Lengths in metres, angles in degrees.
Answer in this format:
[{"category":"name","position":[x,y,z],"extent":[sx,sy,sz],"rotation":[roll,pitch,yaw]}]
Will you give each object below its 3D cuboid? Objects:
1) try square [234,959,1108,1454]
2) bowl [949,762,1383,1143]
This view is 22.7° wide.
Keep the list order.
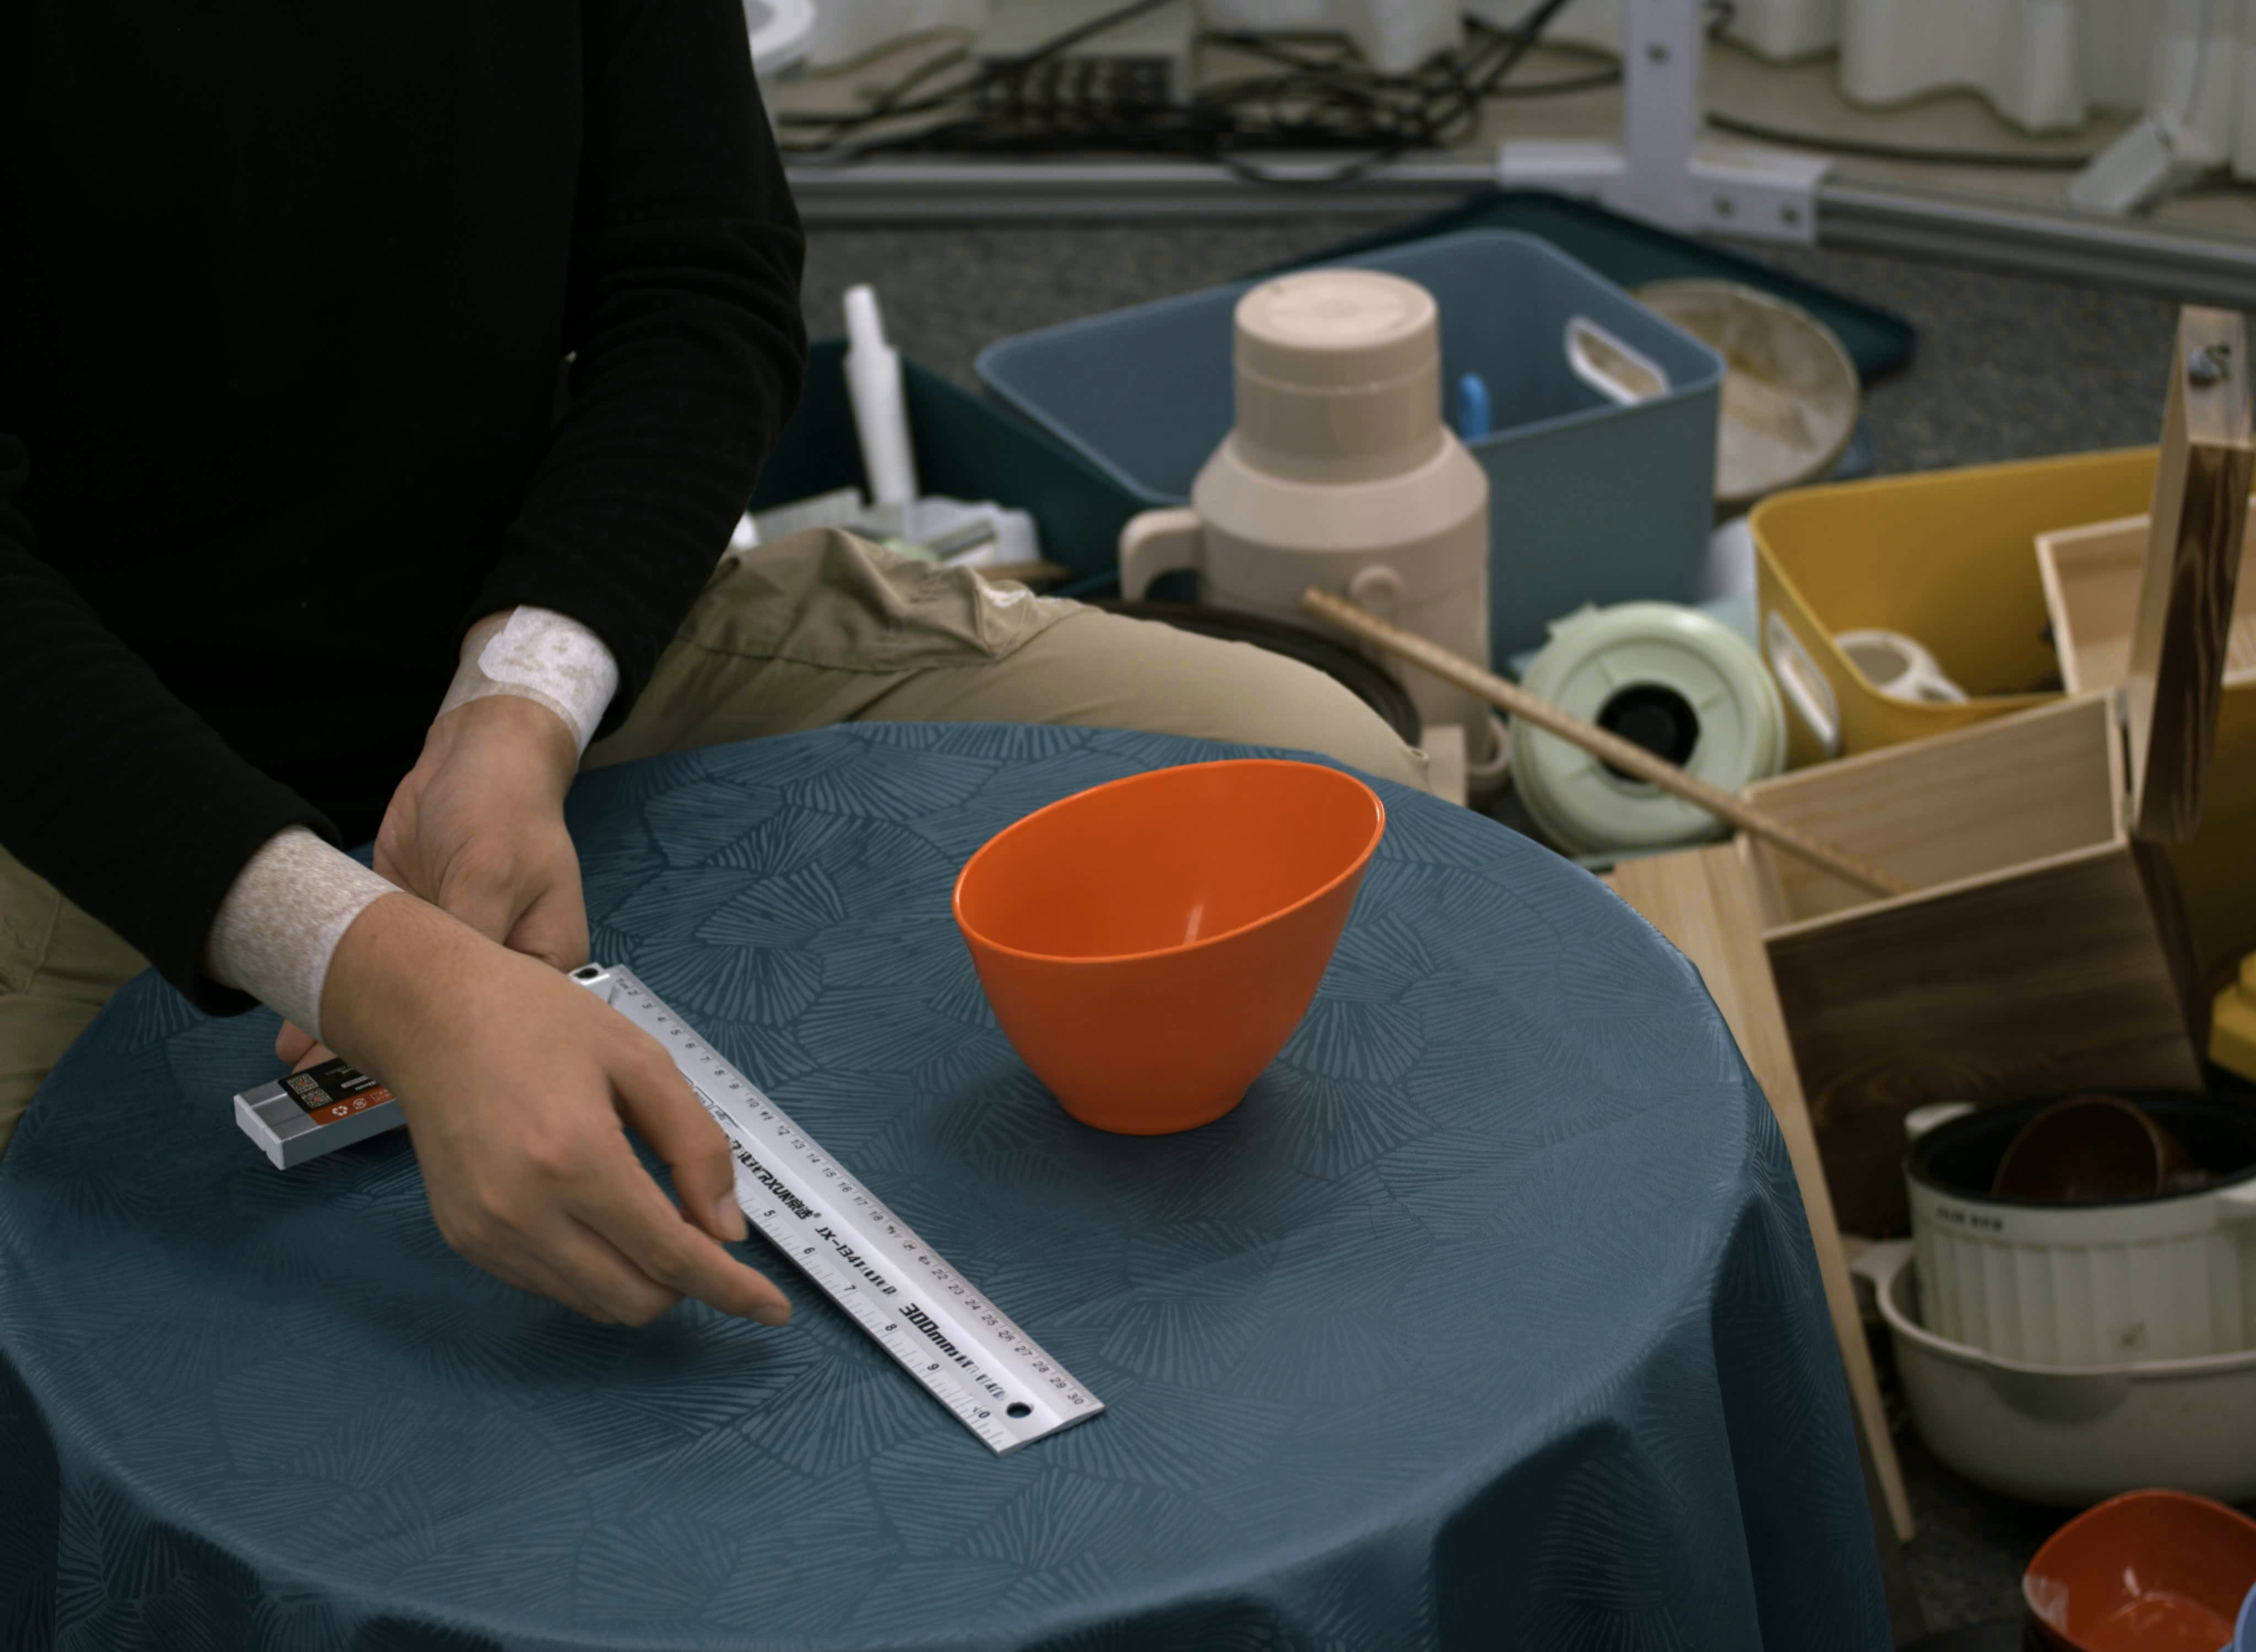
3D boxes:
[{"category":"try square","position":[-0.154,0.138,1.821],"extent":[0.153,0.015,0.314],"rotation":[-21,37,-27]},{"category":"bowl","position":[0.015,0.048,1.895],"extent":[0.147,0.103,0.150],"rotation":[-3,27,2]}]
